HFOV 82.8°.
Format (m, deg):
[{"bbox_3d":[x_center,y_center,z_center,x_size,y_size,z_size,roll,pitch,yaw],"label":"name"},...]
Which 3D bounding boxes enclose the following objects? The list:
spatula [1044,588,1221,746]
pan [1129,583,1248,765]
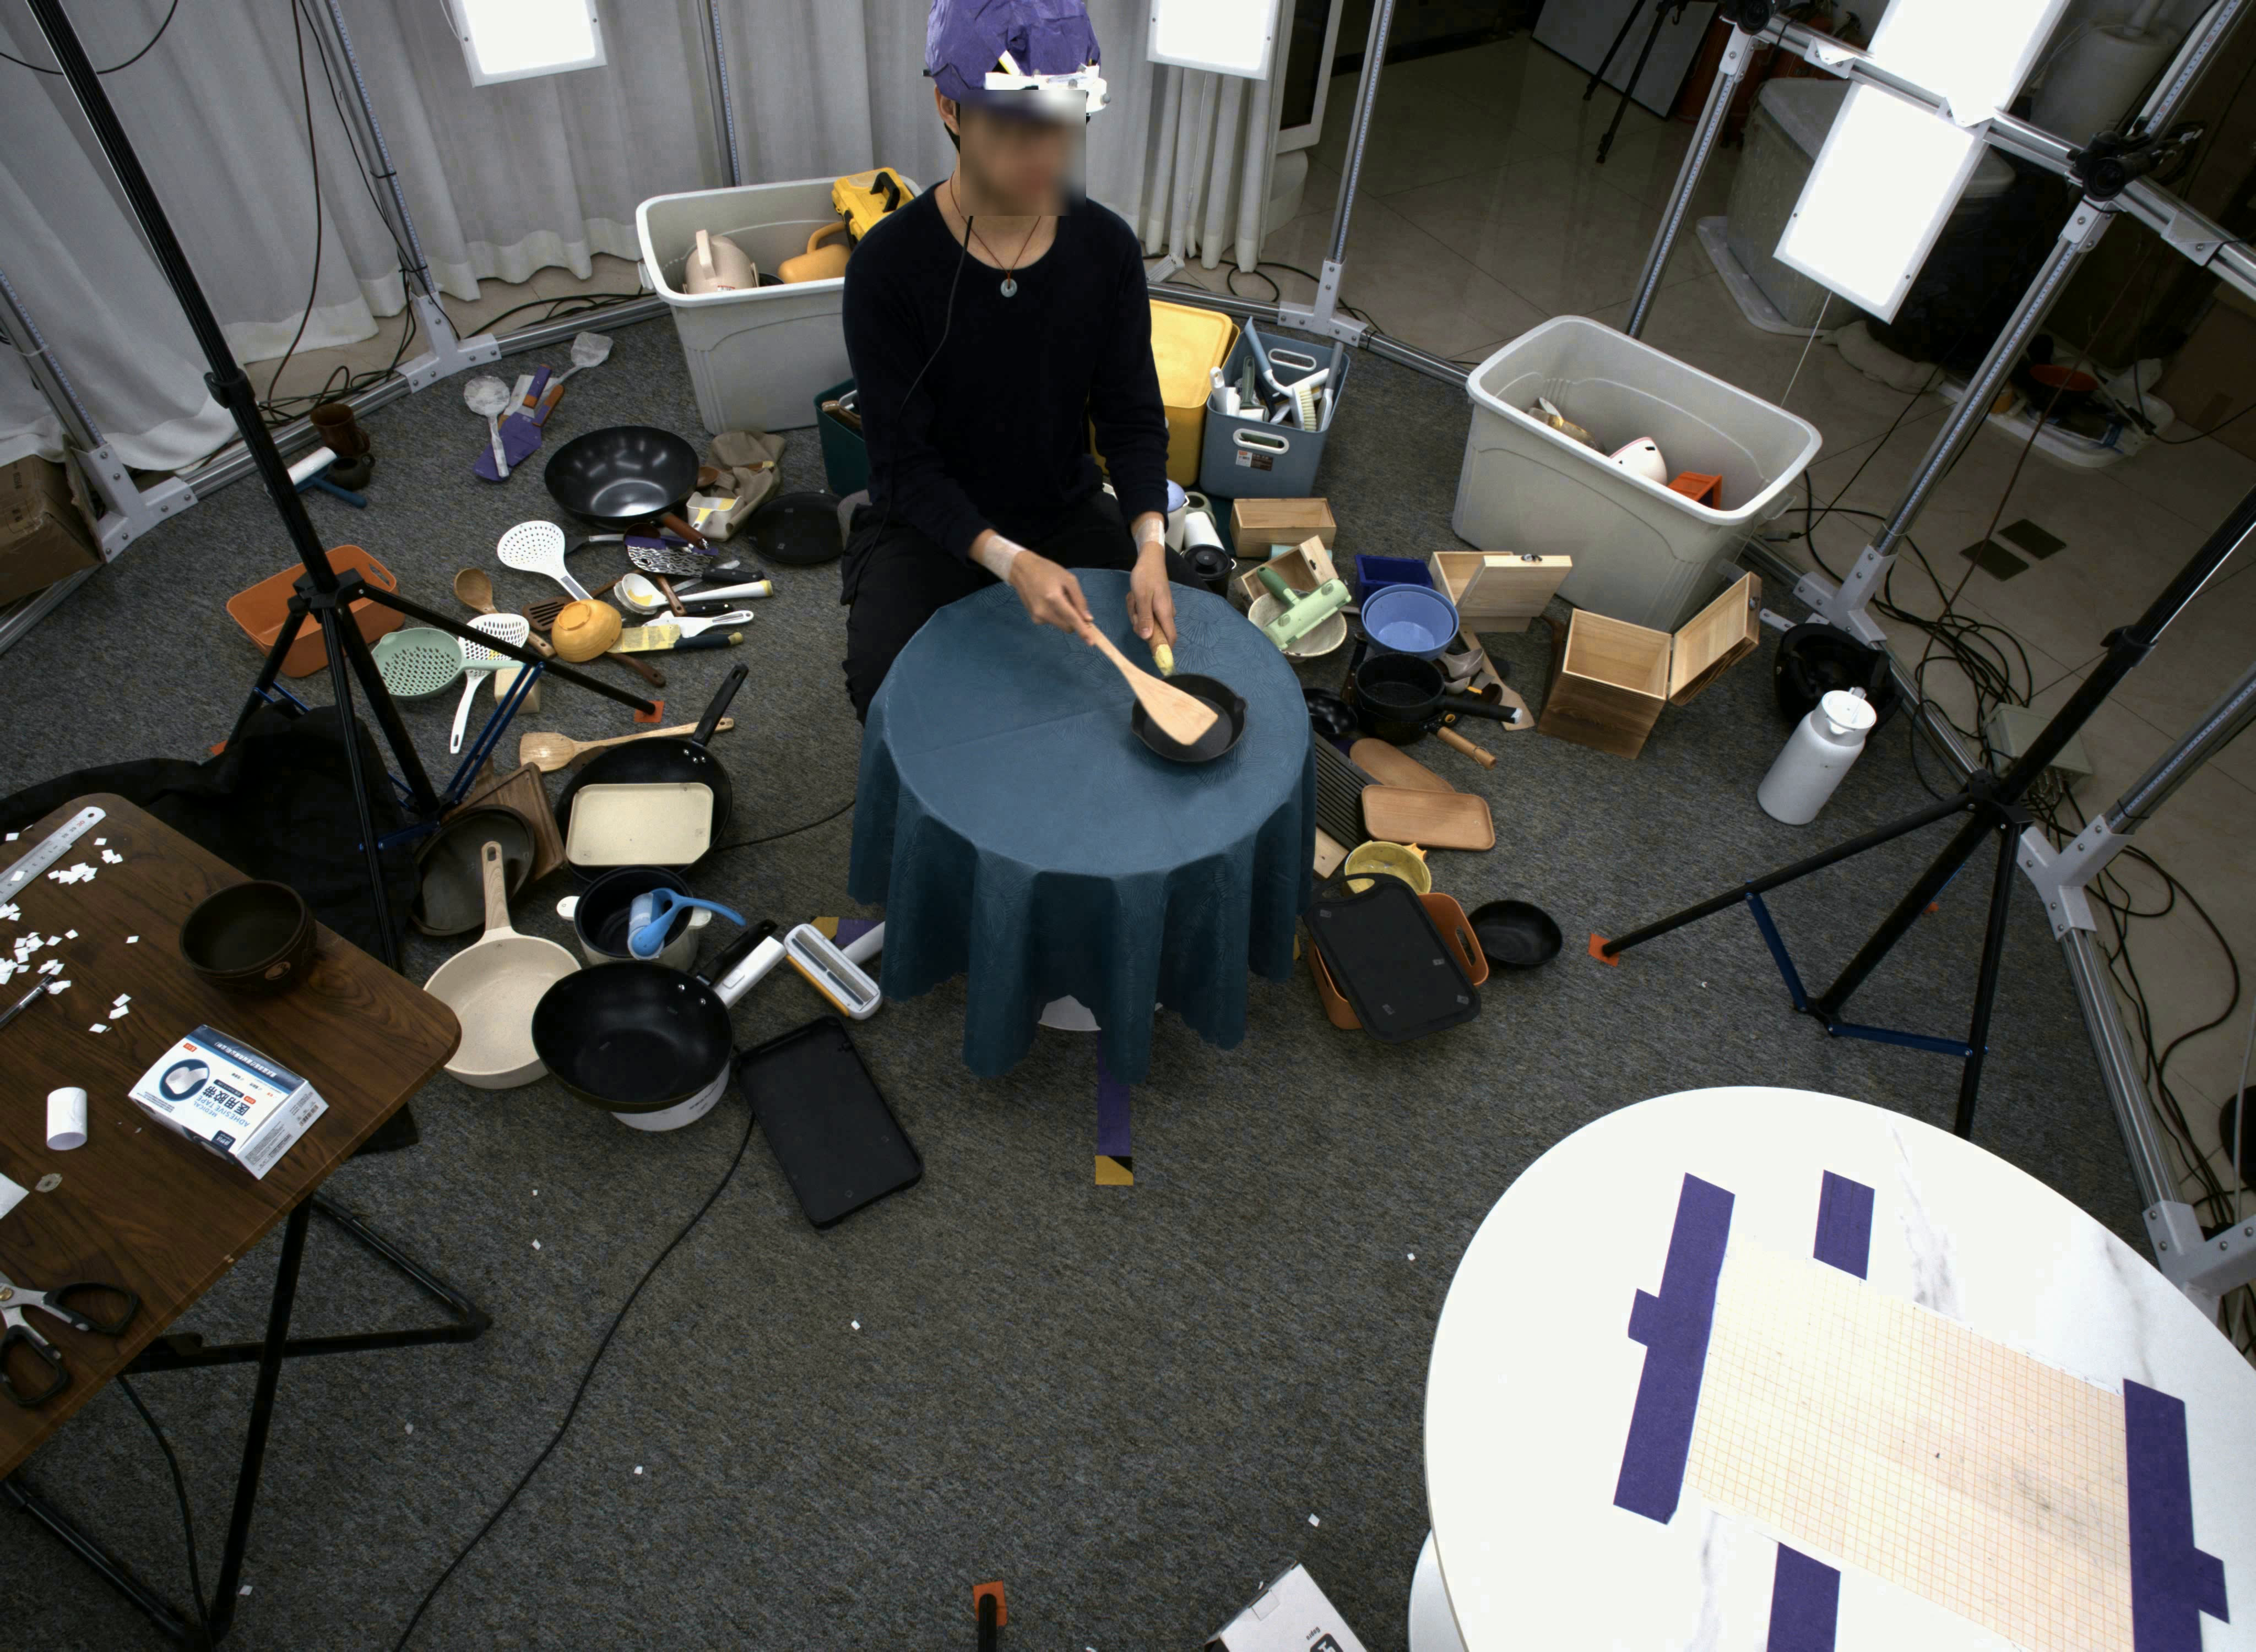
[{"bbox_3d":[-0.002,-0.227,1.763,0.080,0.016,0.332,-32,67,-33],"label":"spatula"},{"bbox_3d":[0.062,-0.216,1.814,0.169,0.048,0.332,-12,56,-9],"label":"pan"}]
